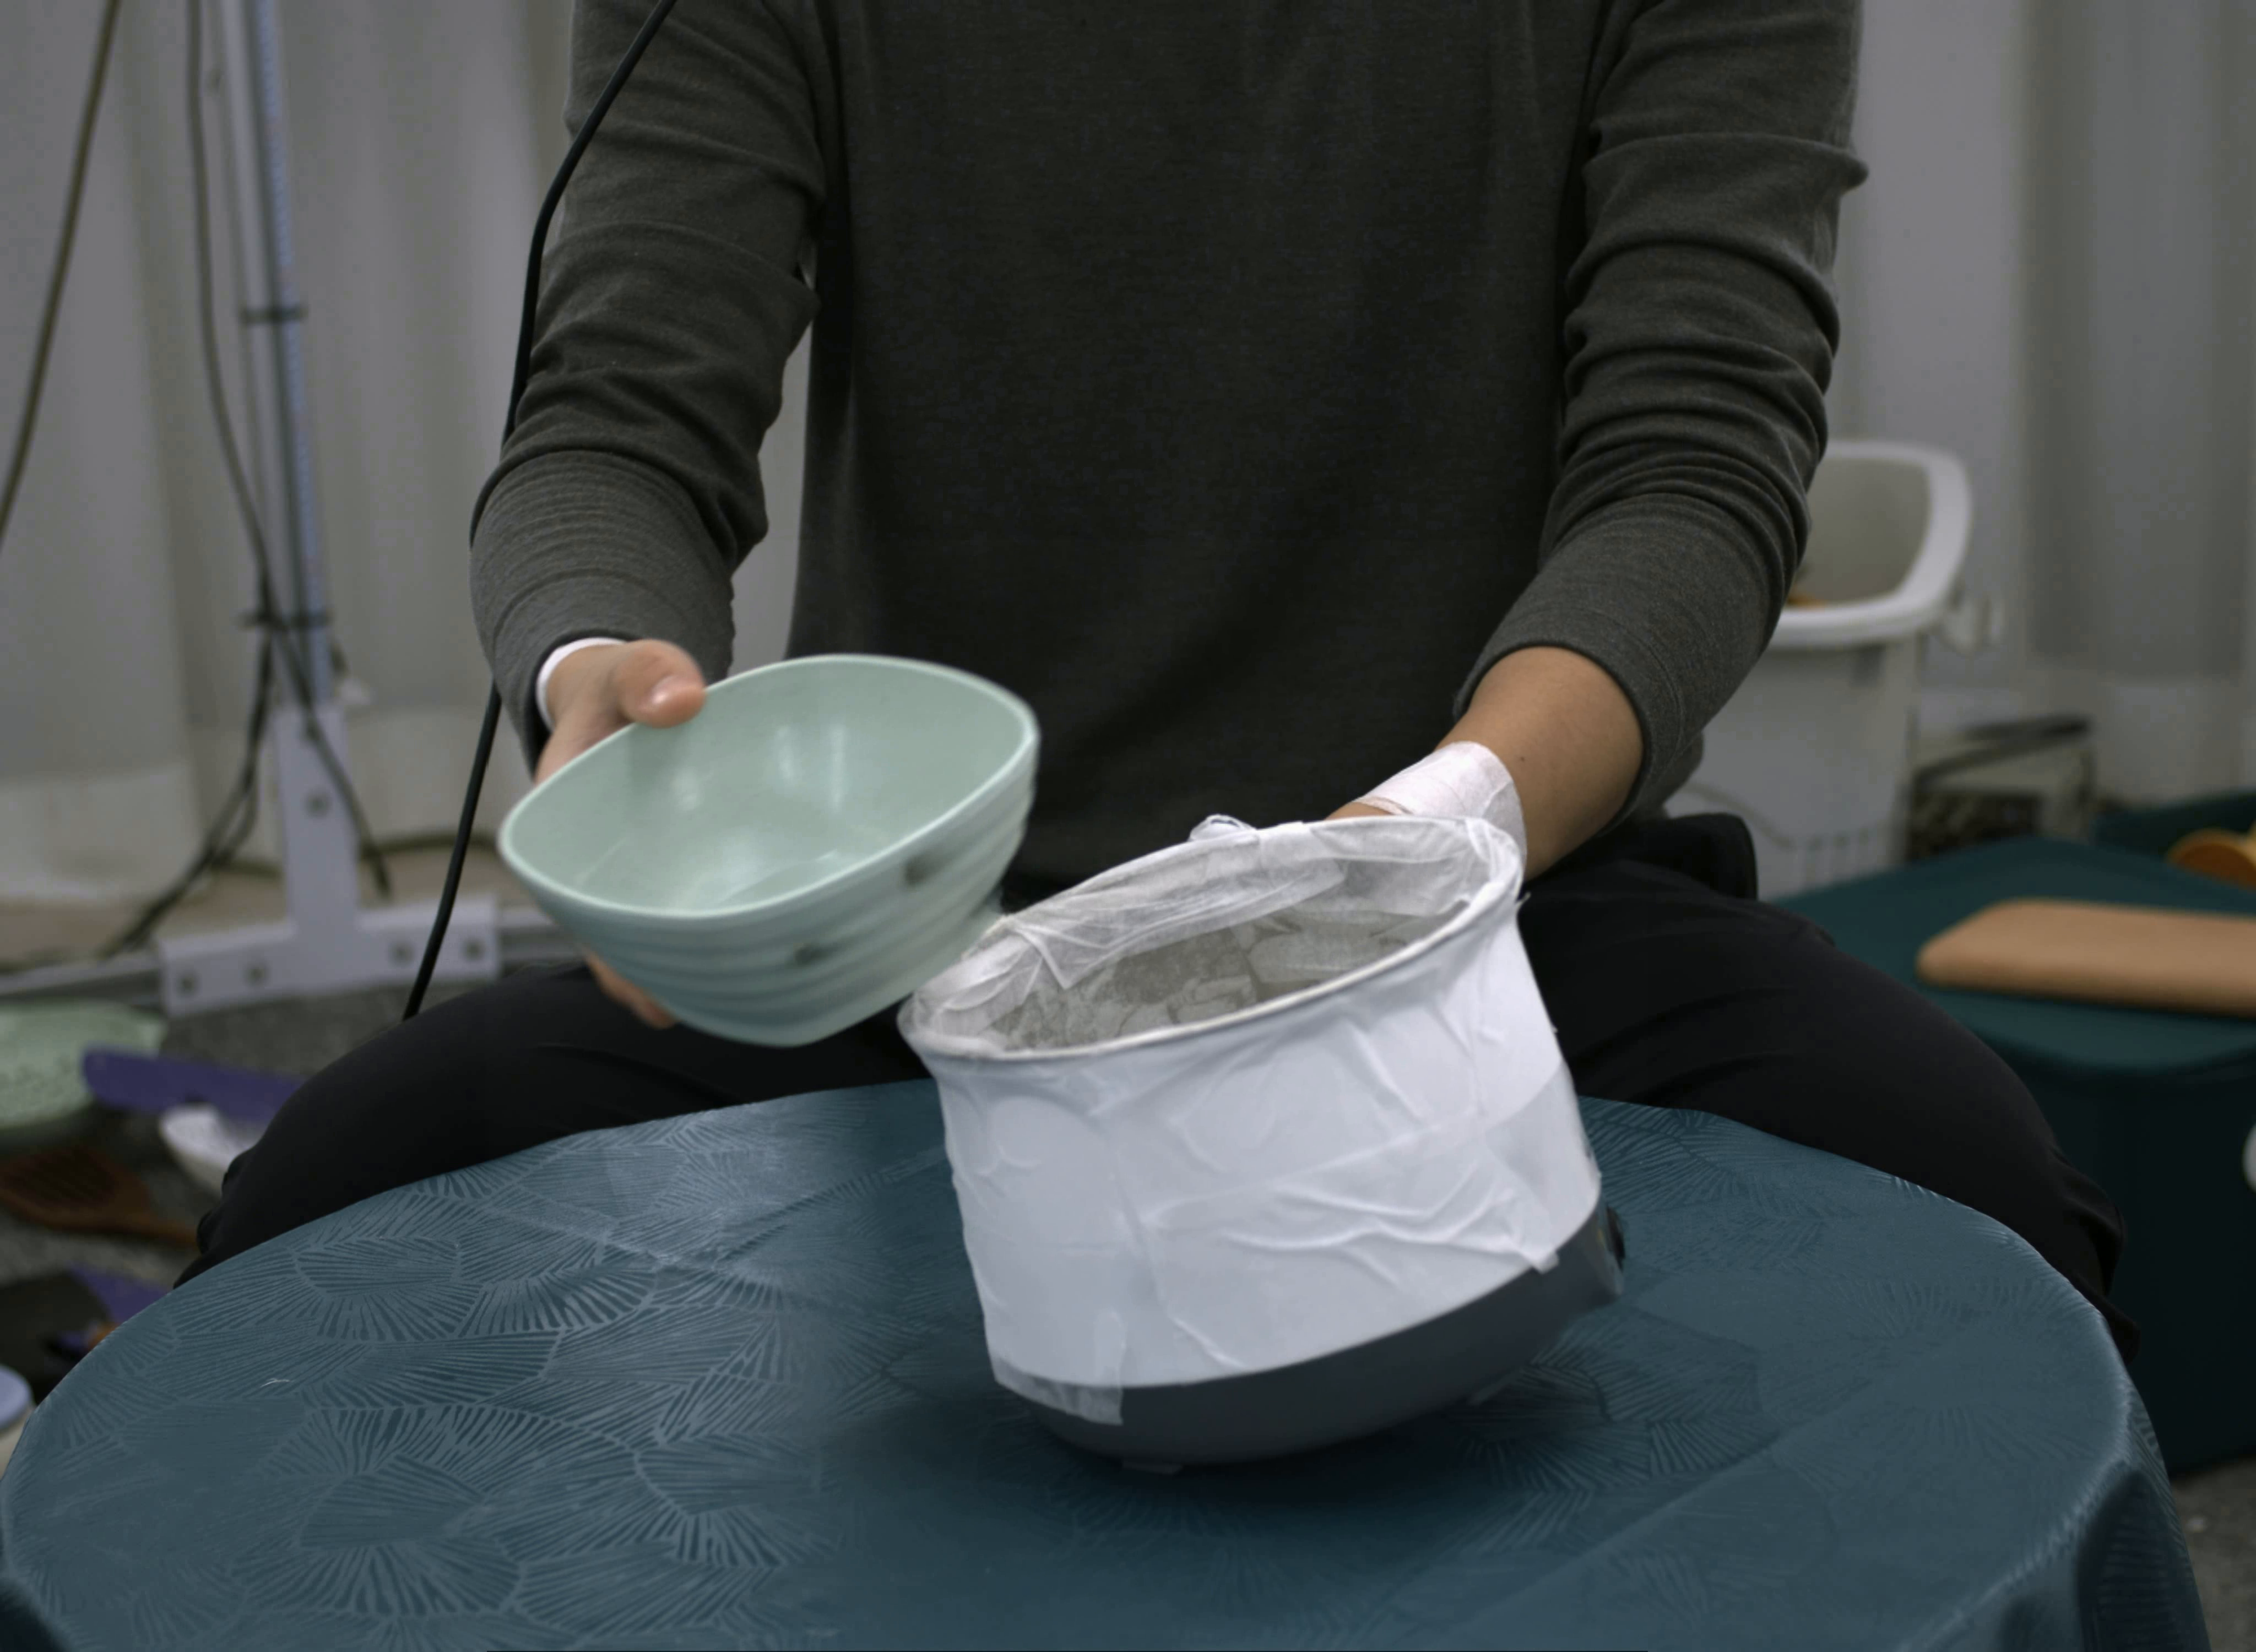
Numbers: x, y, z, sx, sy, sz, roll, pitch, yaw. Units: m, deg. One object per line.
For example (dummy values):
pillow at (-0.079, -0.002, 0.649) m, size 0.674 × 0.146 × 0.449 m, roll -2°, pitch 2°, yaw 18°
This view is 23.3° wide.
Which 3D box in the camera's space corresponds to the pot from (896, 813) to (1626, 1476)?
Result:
pot at (0.039, 0.080, 1.535) m, size 0.178 × 0.136 × 0.235 m, roll -14°, pitch 14°, yaw 5°

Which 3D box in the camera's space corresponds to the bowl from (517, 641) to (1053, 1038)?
bowl at (-0.088, 0.009, 1.505) m, size 0.151 × 0.058 × 0.153 m, roll -12°, pitch 27°, yaw 6°
